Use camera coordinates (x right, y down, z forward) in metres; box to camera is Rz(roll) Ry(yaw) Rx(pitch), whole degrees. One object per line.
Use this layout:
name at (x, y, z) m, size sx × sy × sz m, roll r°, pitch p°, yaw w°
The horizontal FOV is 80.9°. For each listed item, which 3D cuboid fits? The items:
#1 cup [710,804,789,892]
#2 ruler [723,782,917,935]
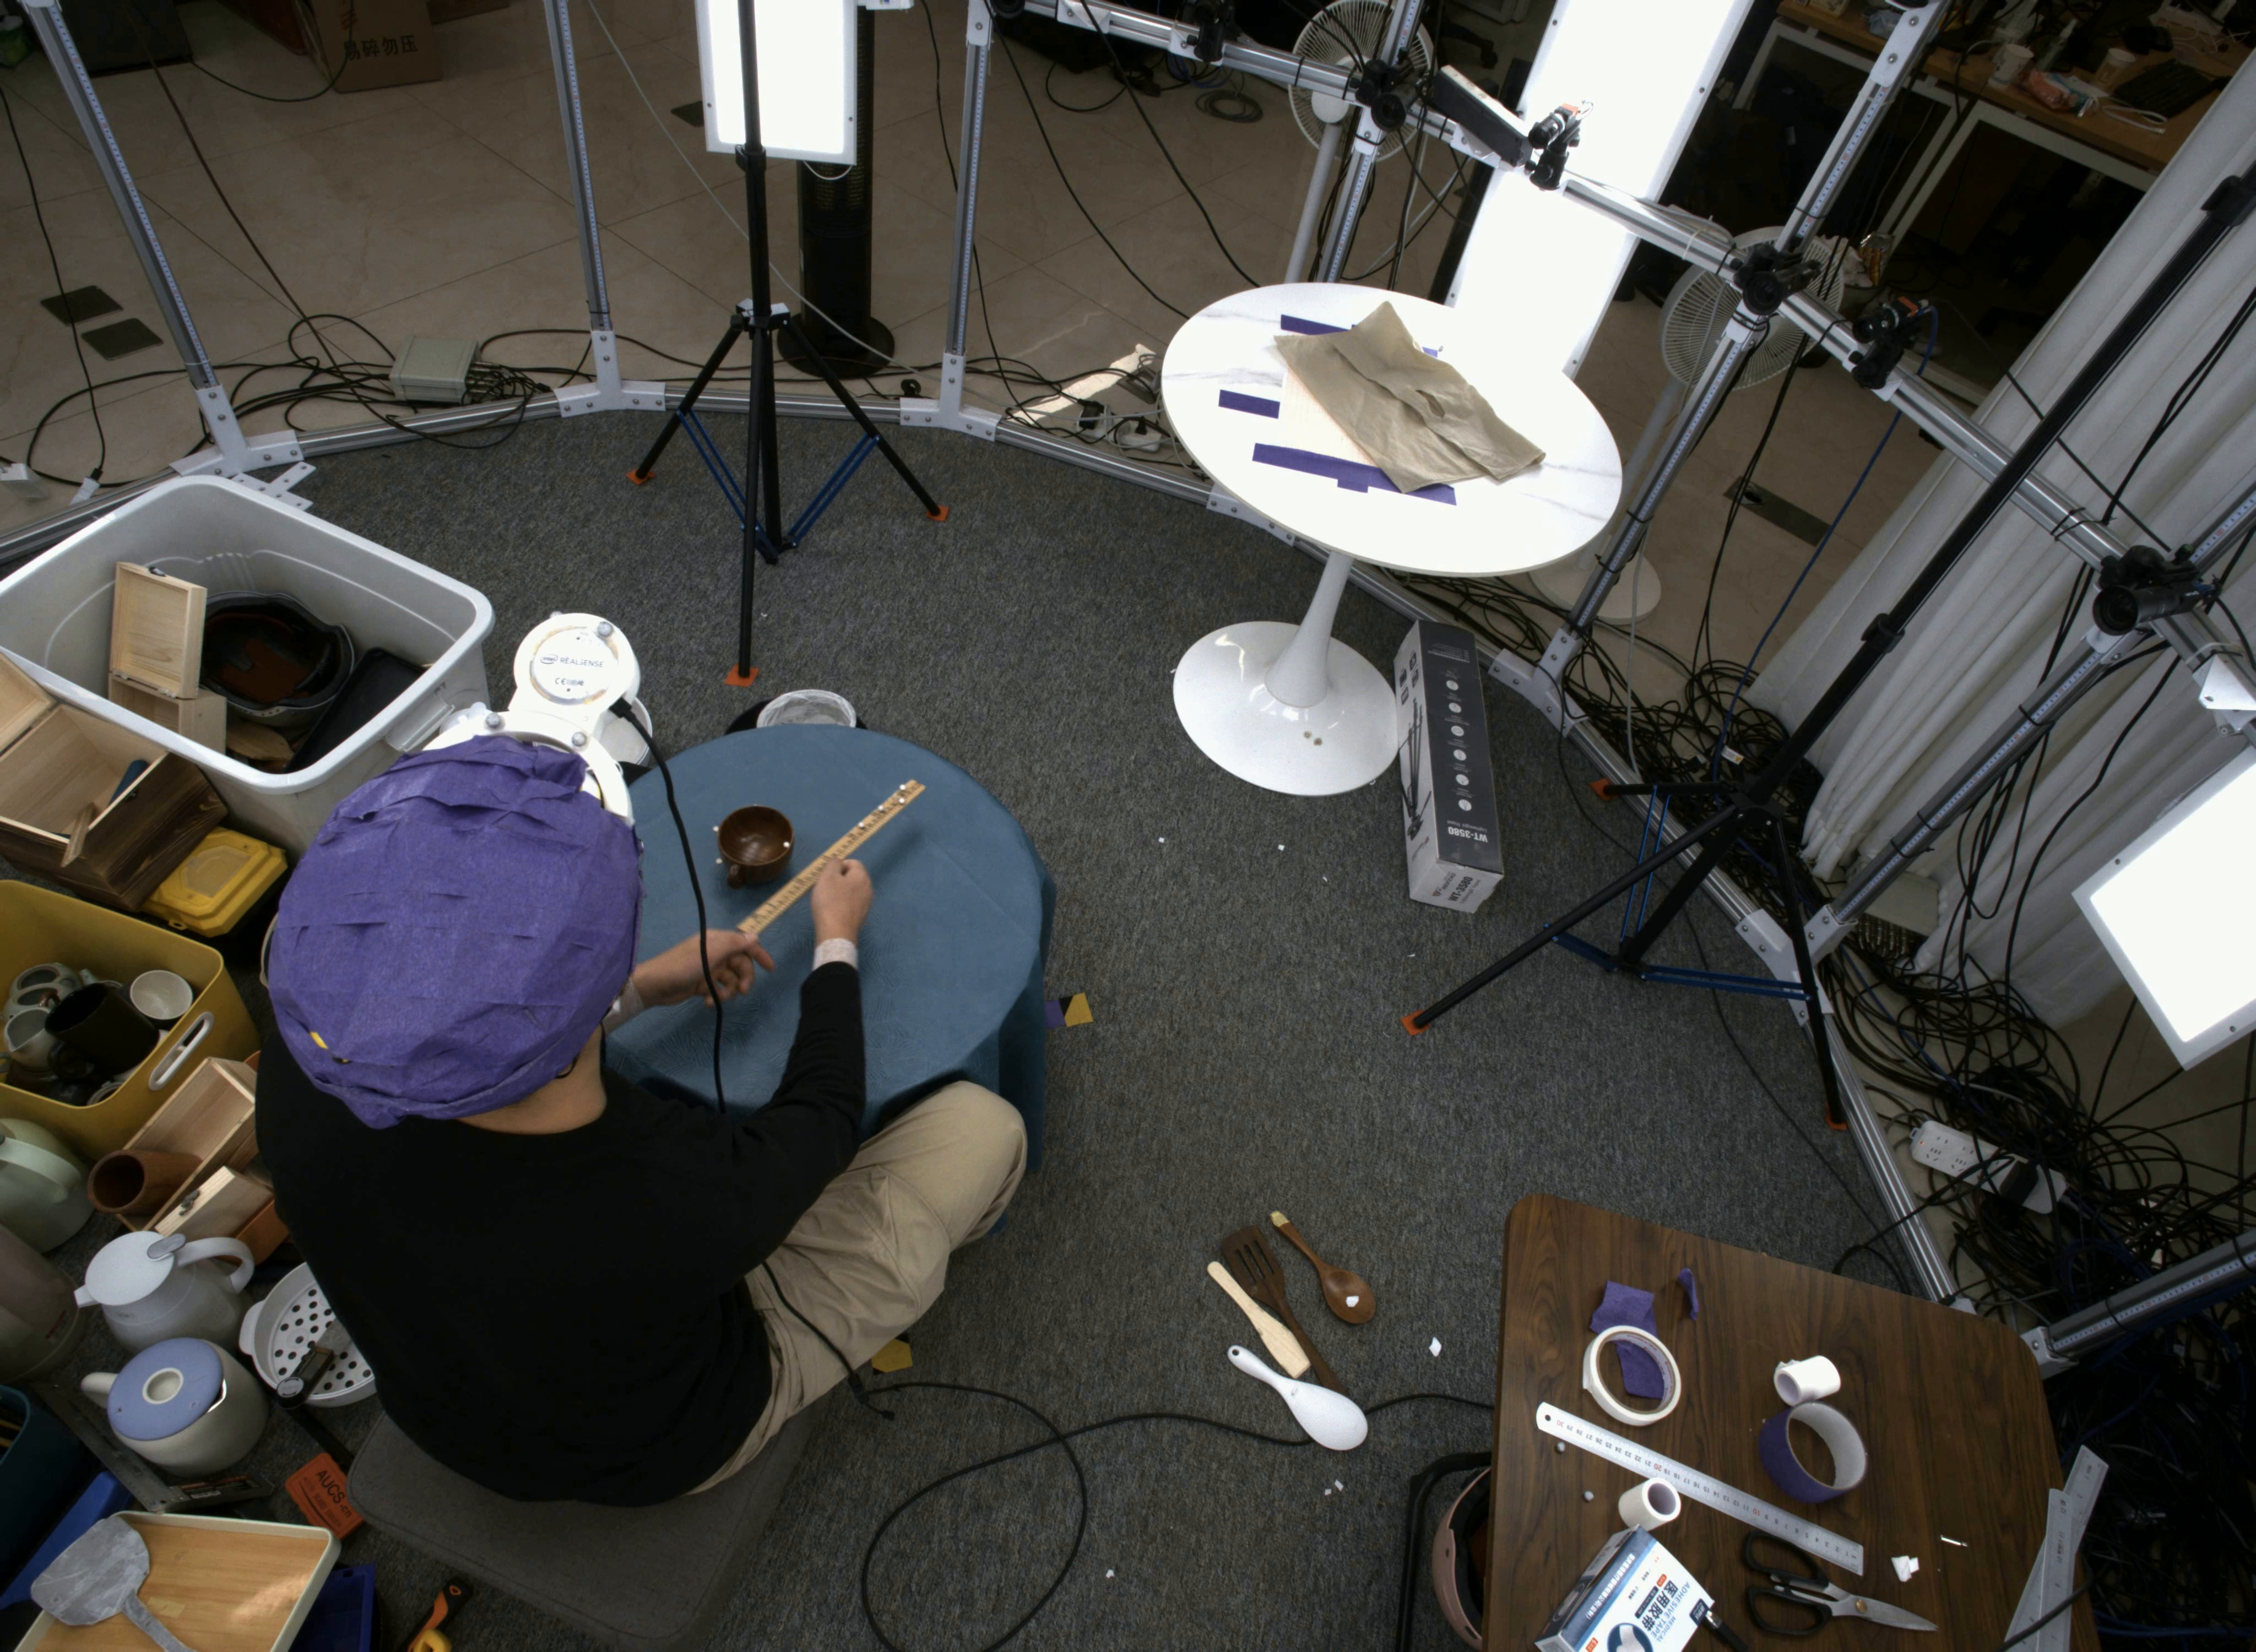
cup at (-0.482, 0.037, 1.634) m, size 0.095 × 0.069 × 0.118 m, roll 20°, pitch 52°, yaw -1°
ruler at (-0.373, 0.030, 1.605) m, size 0.027 × 0.023 × 0.331 m, roll 26°, pitch 44°, yaw 20°
